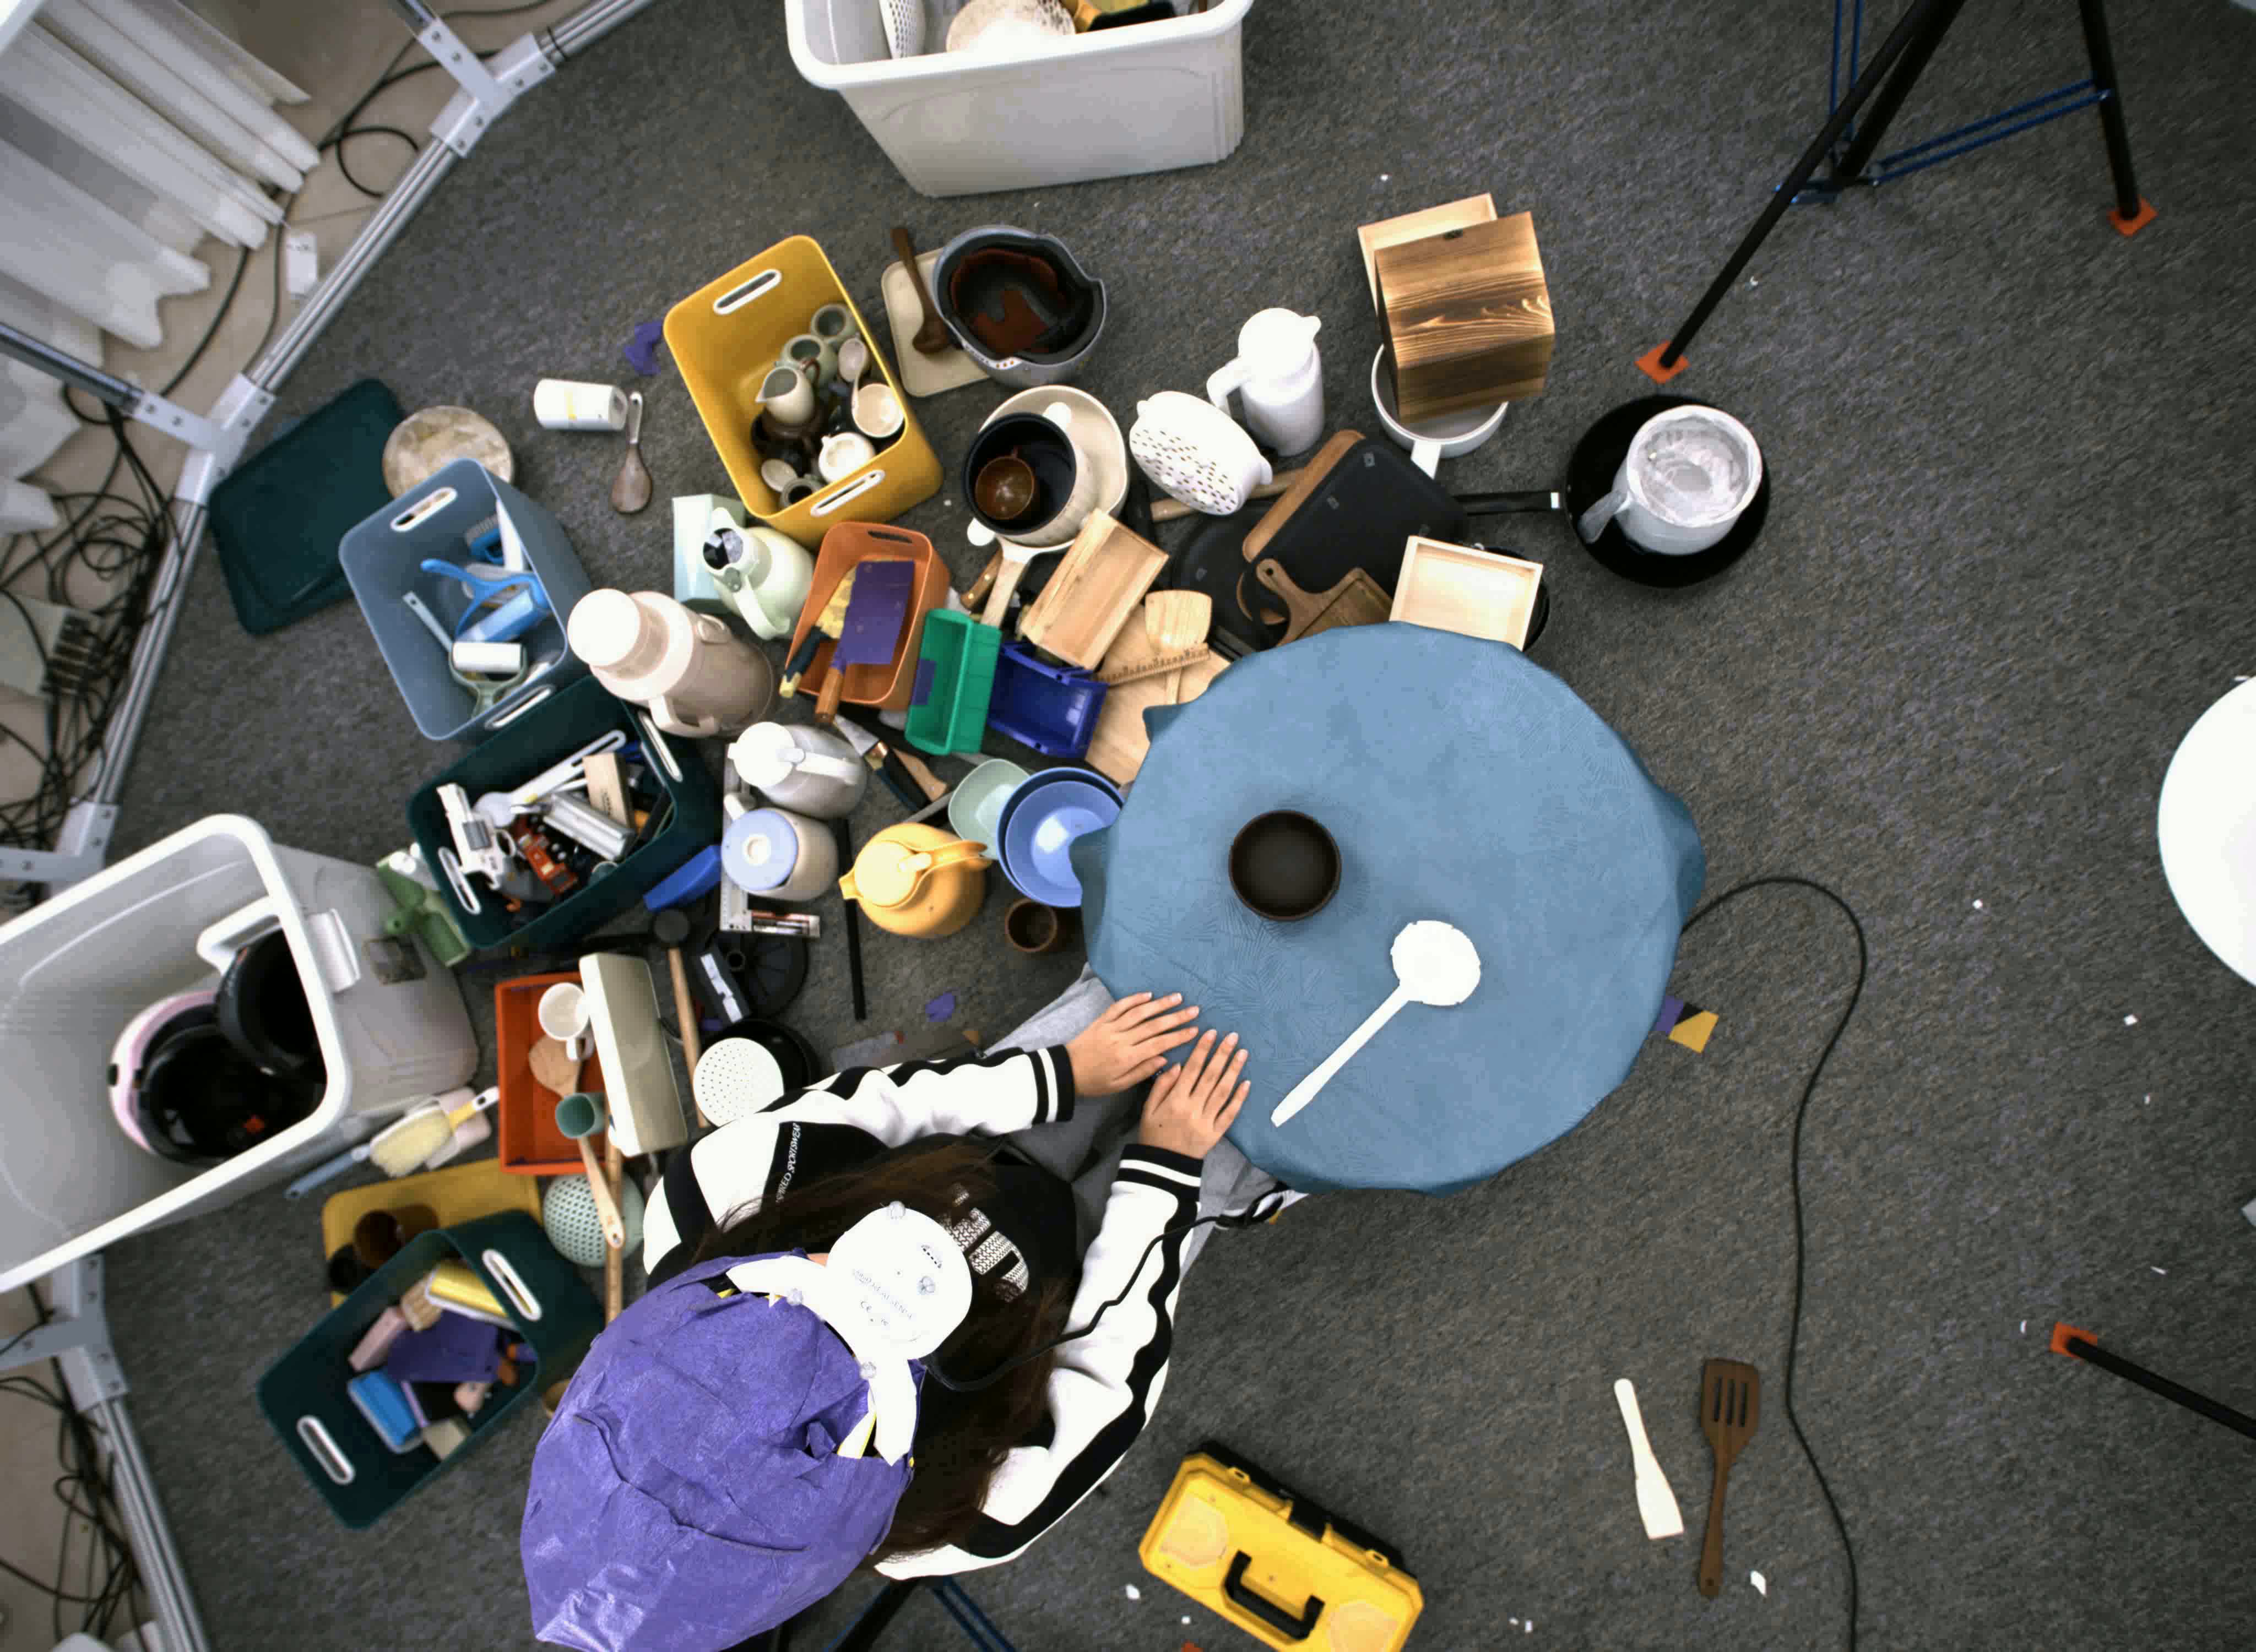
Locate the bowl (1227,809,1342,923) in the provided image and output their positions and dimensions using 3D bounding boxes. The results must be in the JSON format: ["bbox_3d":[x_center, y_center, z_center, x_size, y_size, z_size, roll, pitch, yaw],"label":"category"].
[{"bbox_3d":[0.165,0.043,1.444,0.118,0.070,0.117,-1,86,11],"label":"bowl"}]

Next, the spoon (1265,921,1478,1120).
[{"bbox_3d":[0.241,0.205,1.429,0.278,0.059,0.100,-43,78,5],"label":"spoon"}]
